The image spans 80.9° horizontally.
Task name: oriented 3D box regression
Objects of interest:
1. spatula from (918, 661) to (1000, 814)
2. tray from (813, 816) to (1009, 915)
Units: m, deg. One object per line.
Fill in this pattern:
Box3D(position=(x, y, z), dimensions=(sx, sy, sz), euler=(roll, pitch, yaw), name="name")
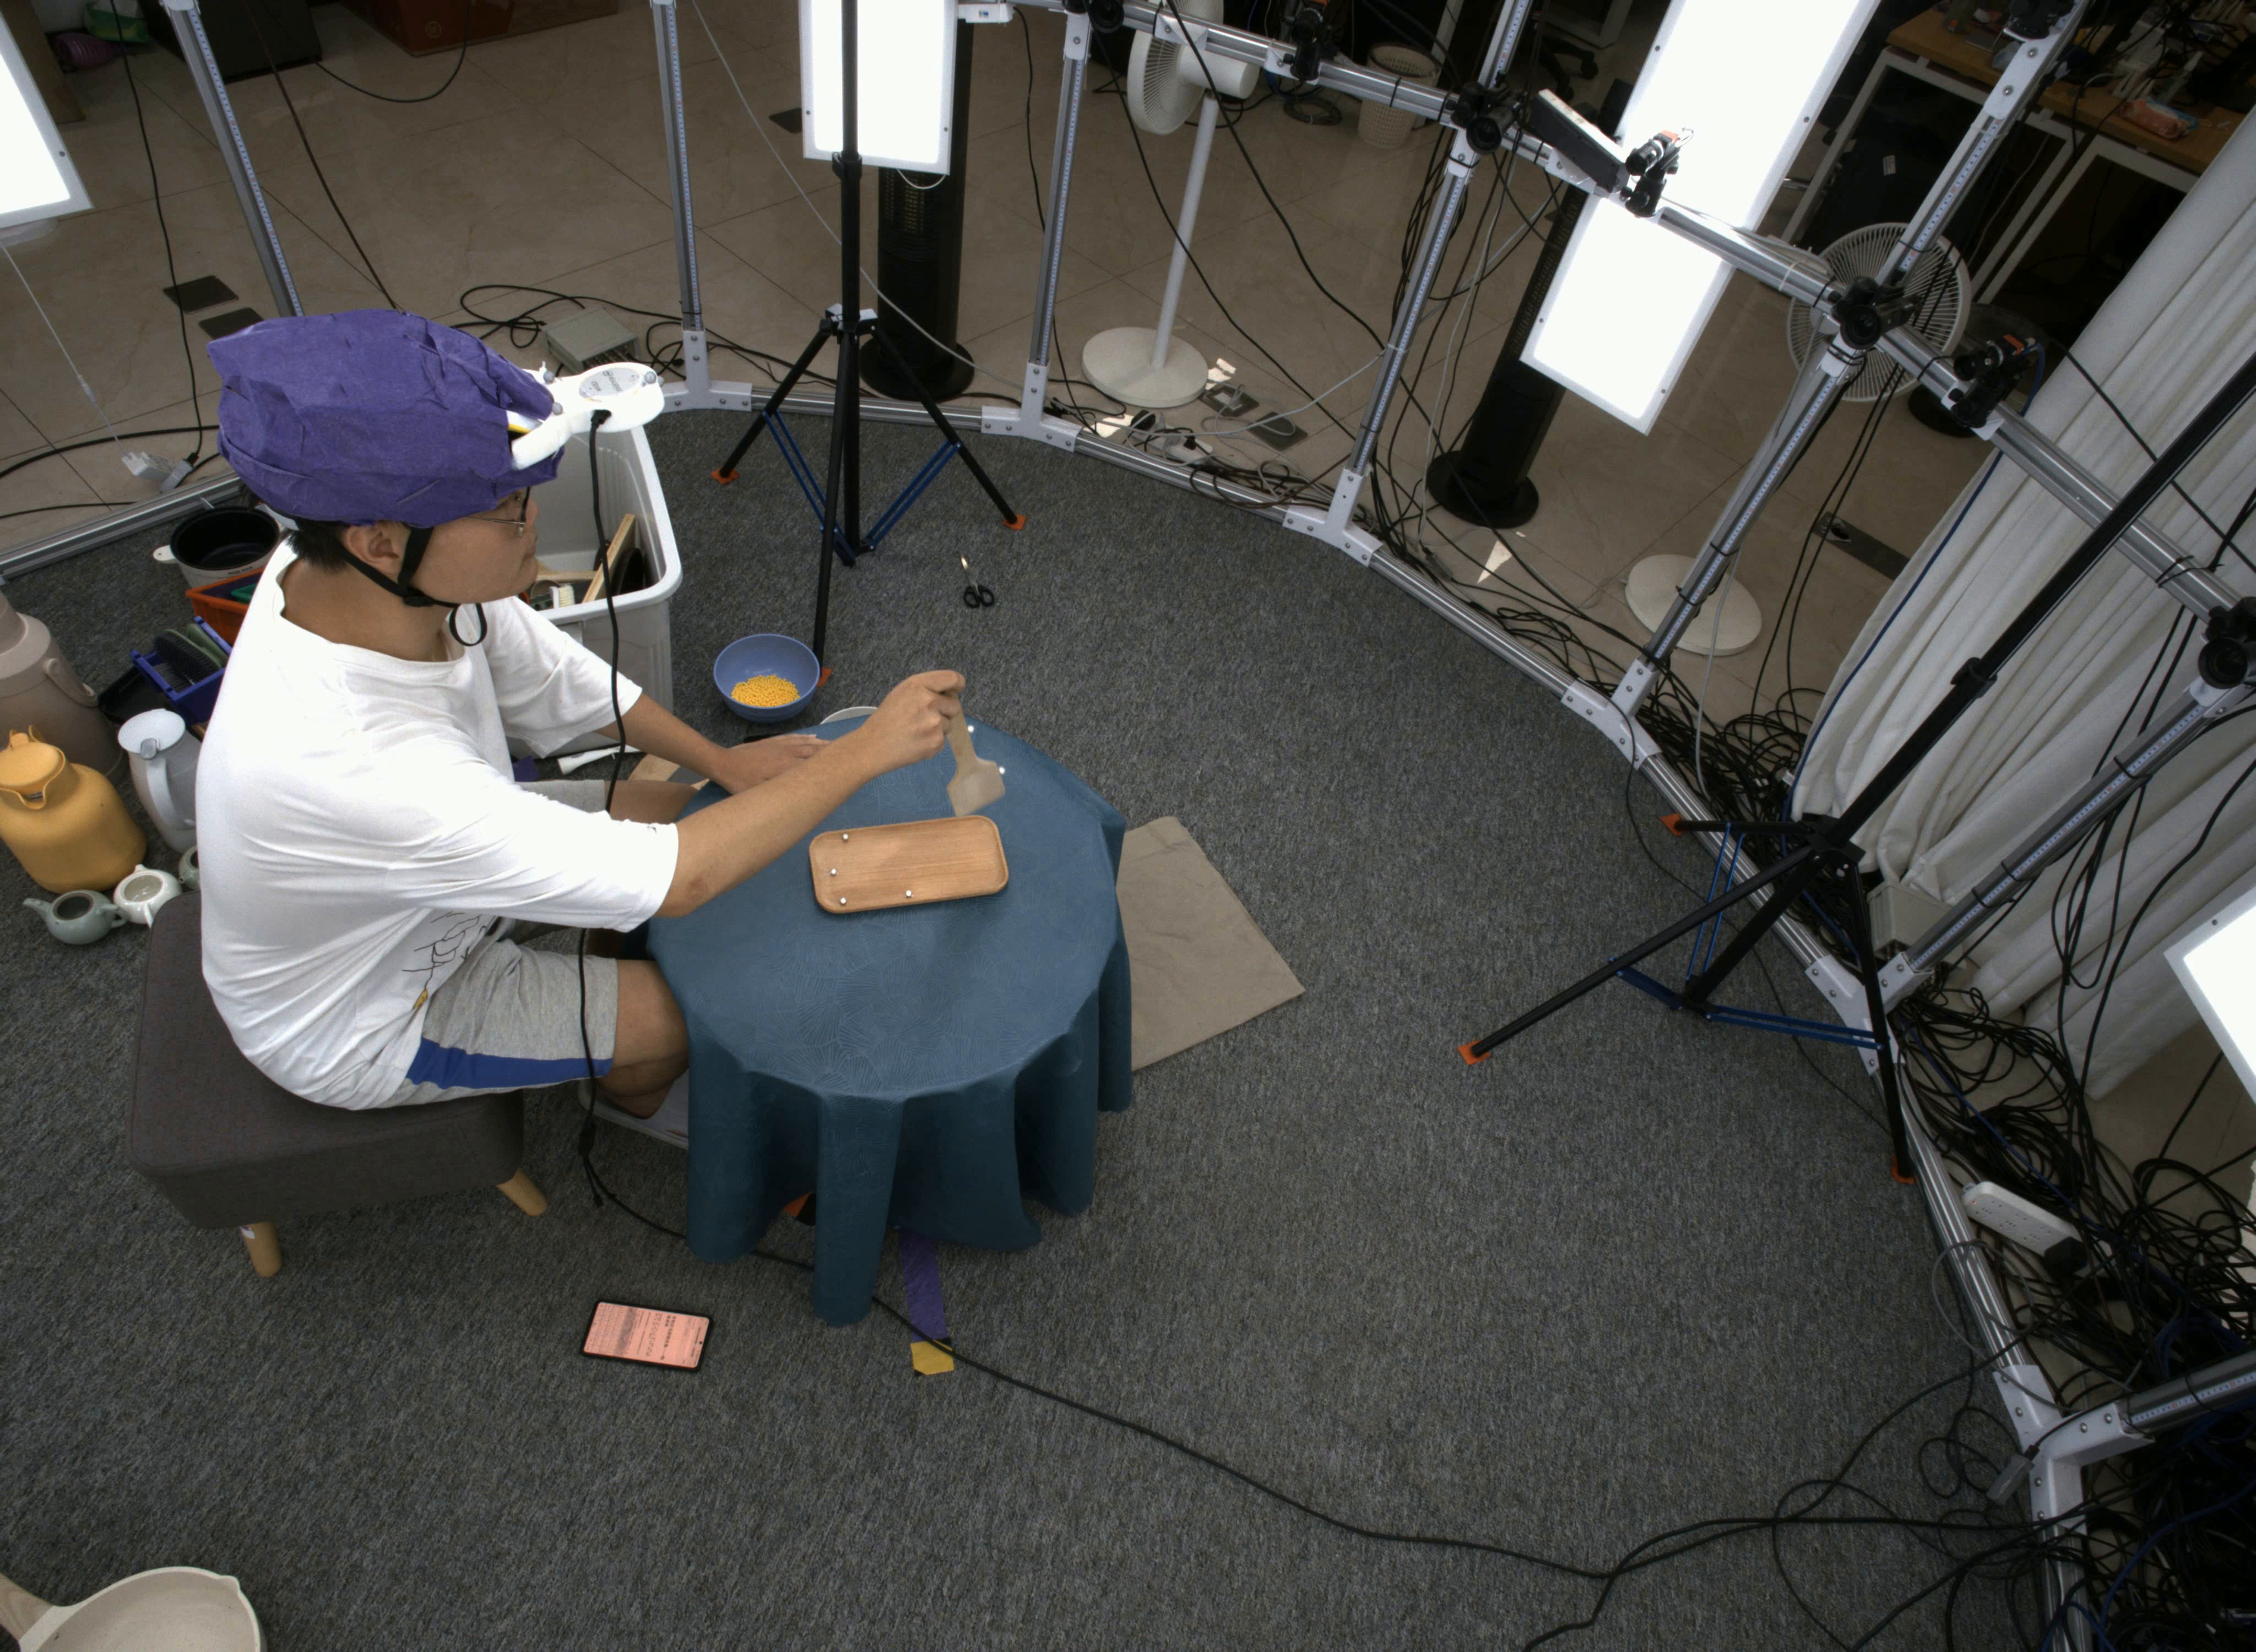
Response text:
Box3D(position=(-0.204, -0.102, 1.544), dimensions=(0.072, 0.301, 0.010), euler=(-30, 63, -11), name="spatula")
Box3D(position=(-0.286, 0.051, 1.720), dimensions=(0.251, 0.023, 0.128), euler=(-5, 58, -17), name="tray")
